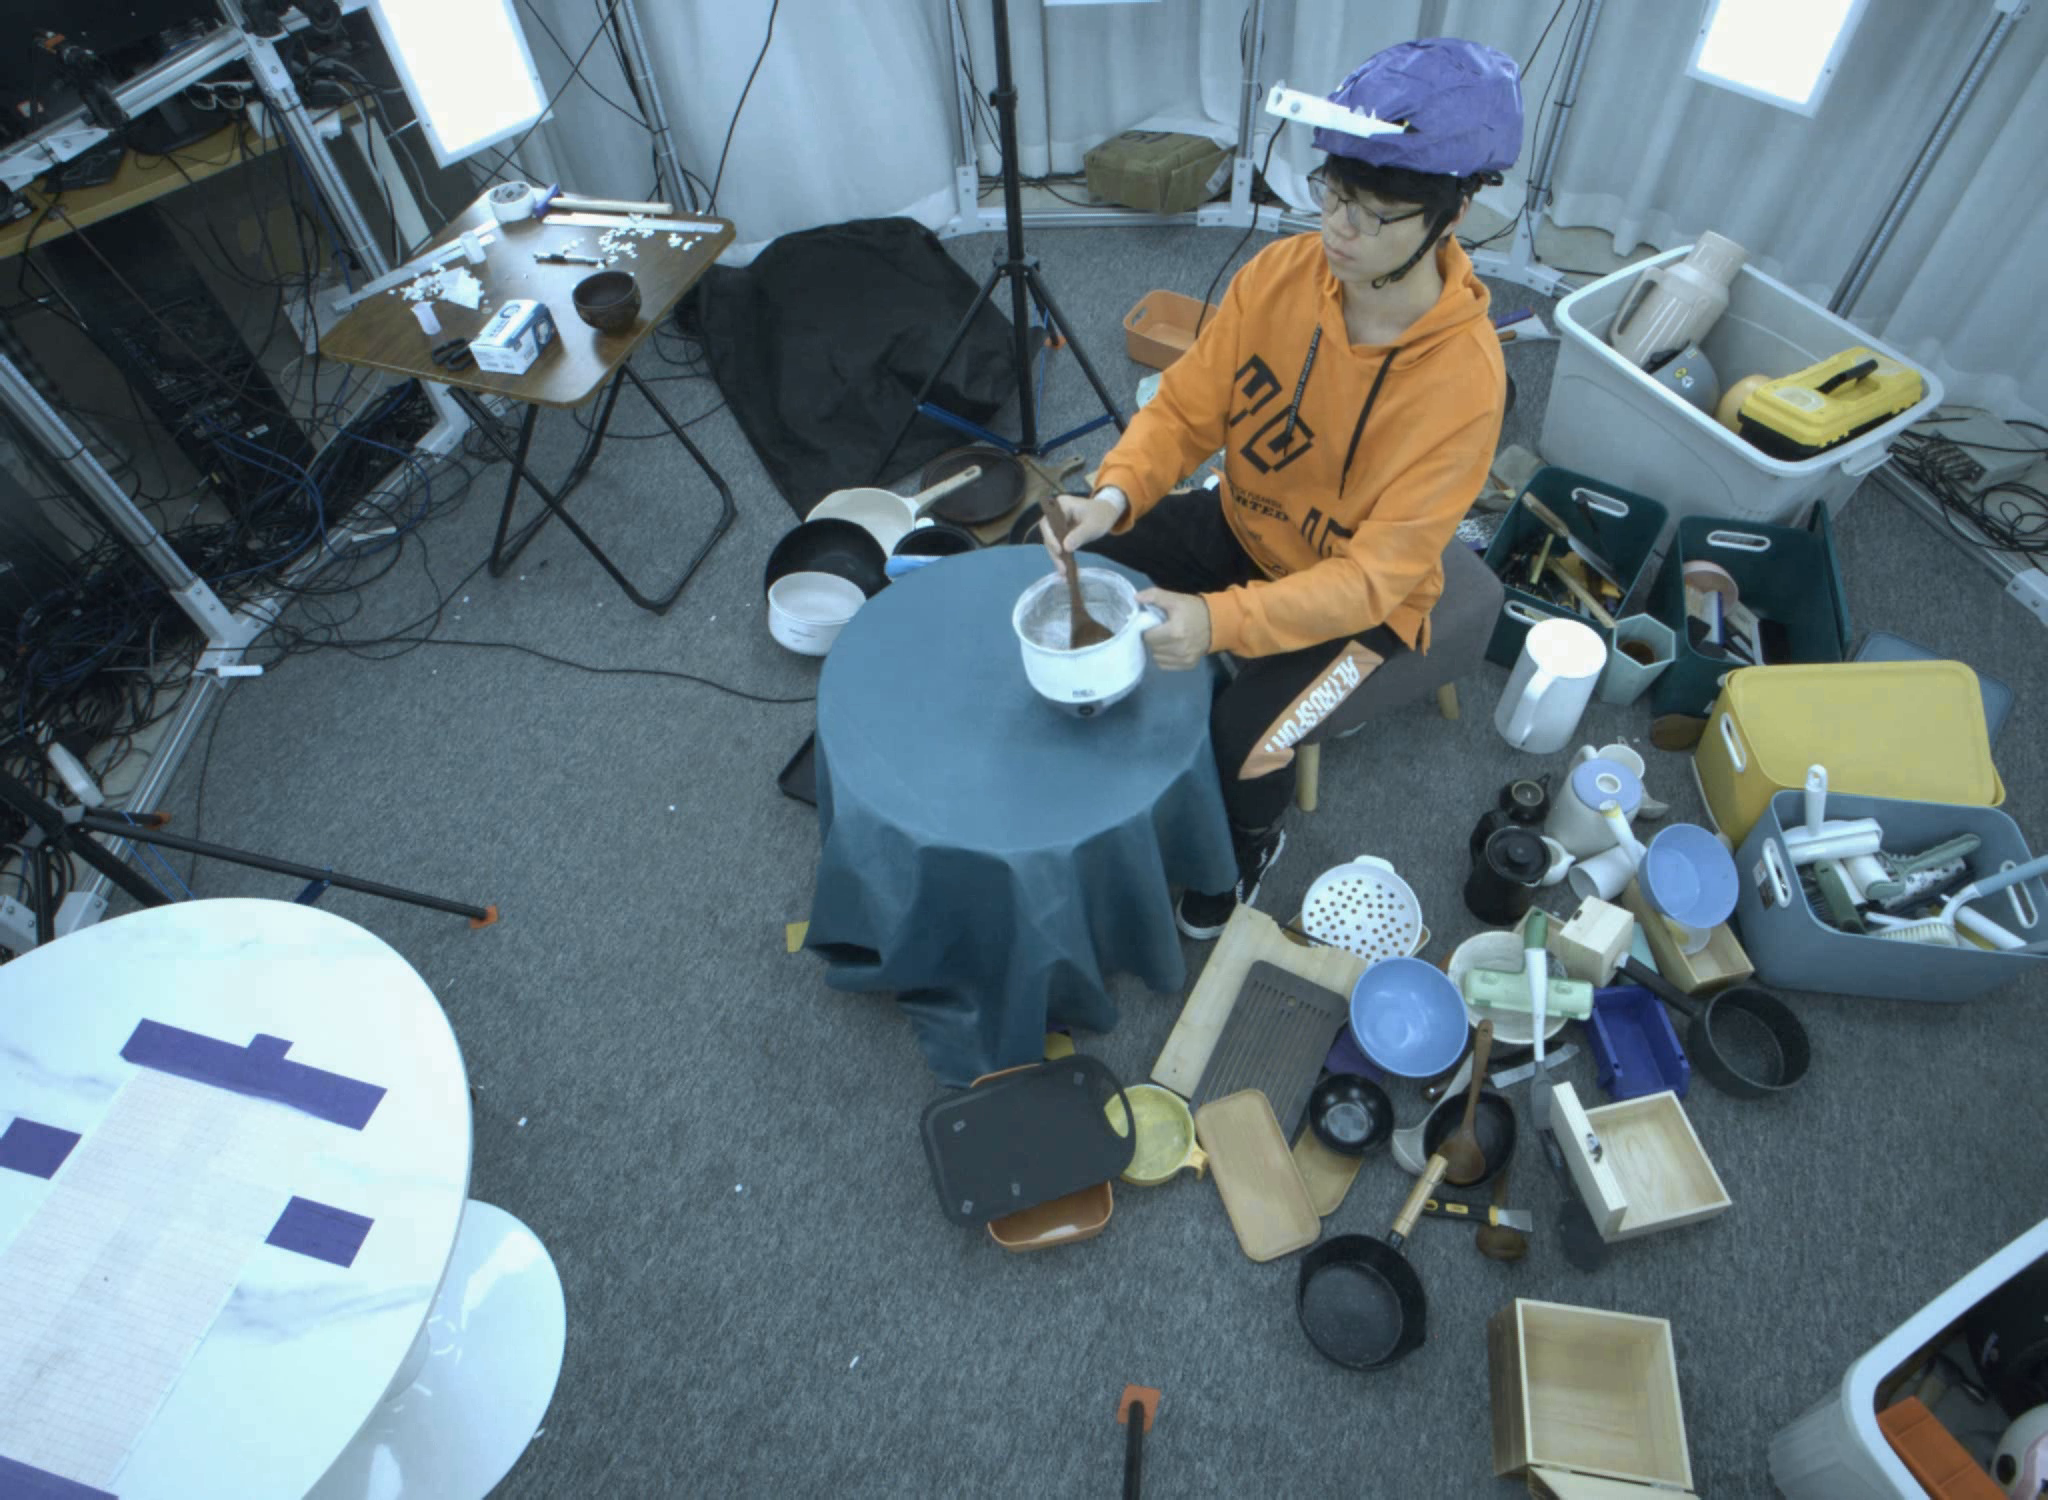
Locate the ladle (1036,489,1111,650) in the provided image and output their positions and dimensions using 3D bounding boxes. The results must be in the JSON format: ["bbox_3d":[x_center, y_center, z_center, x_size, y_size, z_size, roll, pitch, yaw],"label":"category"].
[{"bbox_3d":[0.071,-0.236,1.698,0.077,0.262,0.063,-27,20,-35],"label":"ladle"}]

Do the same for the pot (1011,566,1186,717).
[{"bbox_3d":[0.108,-0.157,1.742,0.232,0.139,0.177,-7,49,8],"label":"pot"}]
